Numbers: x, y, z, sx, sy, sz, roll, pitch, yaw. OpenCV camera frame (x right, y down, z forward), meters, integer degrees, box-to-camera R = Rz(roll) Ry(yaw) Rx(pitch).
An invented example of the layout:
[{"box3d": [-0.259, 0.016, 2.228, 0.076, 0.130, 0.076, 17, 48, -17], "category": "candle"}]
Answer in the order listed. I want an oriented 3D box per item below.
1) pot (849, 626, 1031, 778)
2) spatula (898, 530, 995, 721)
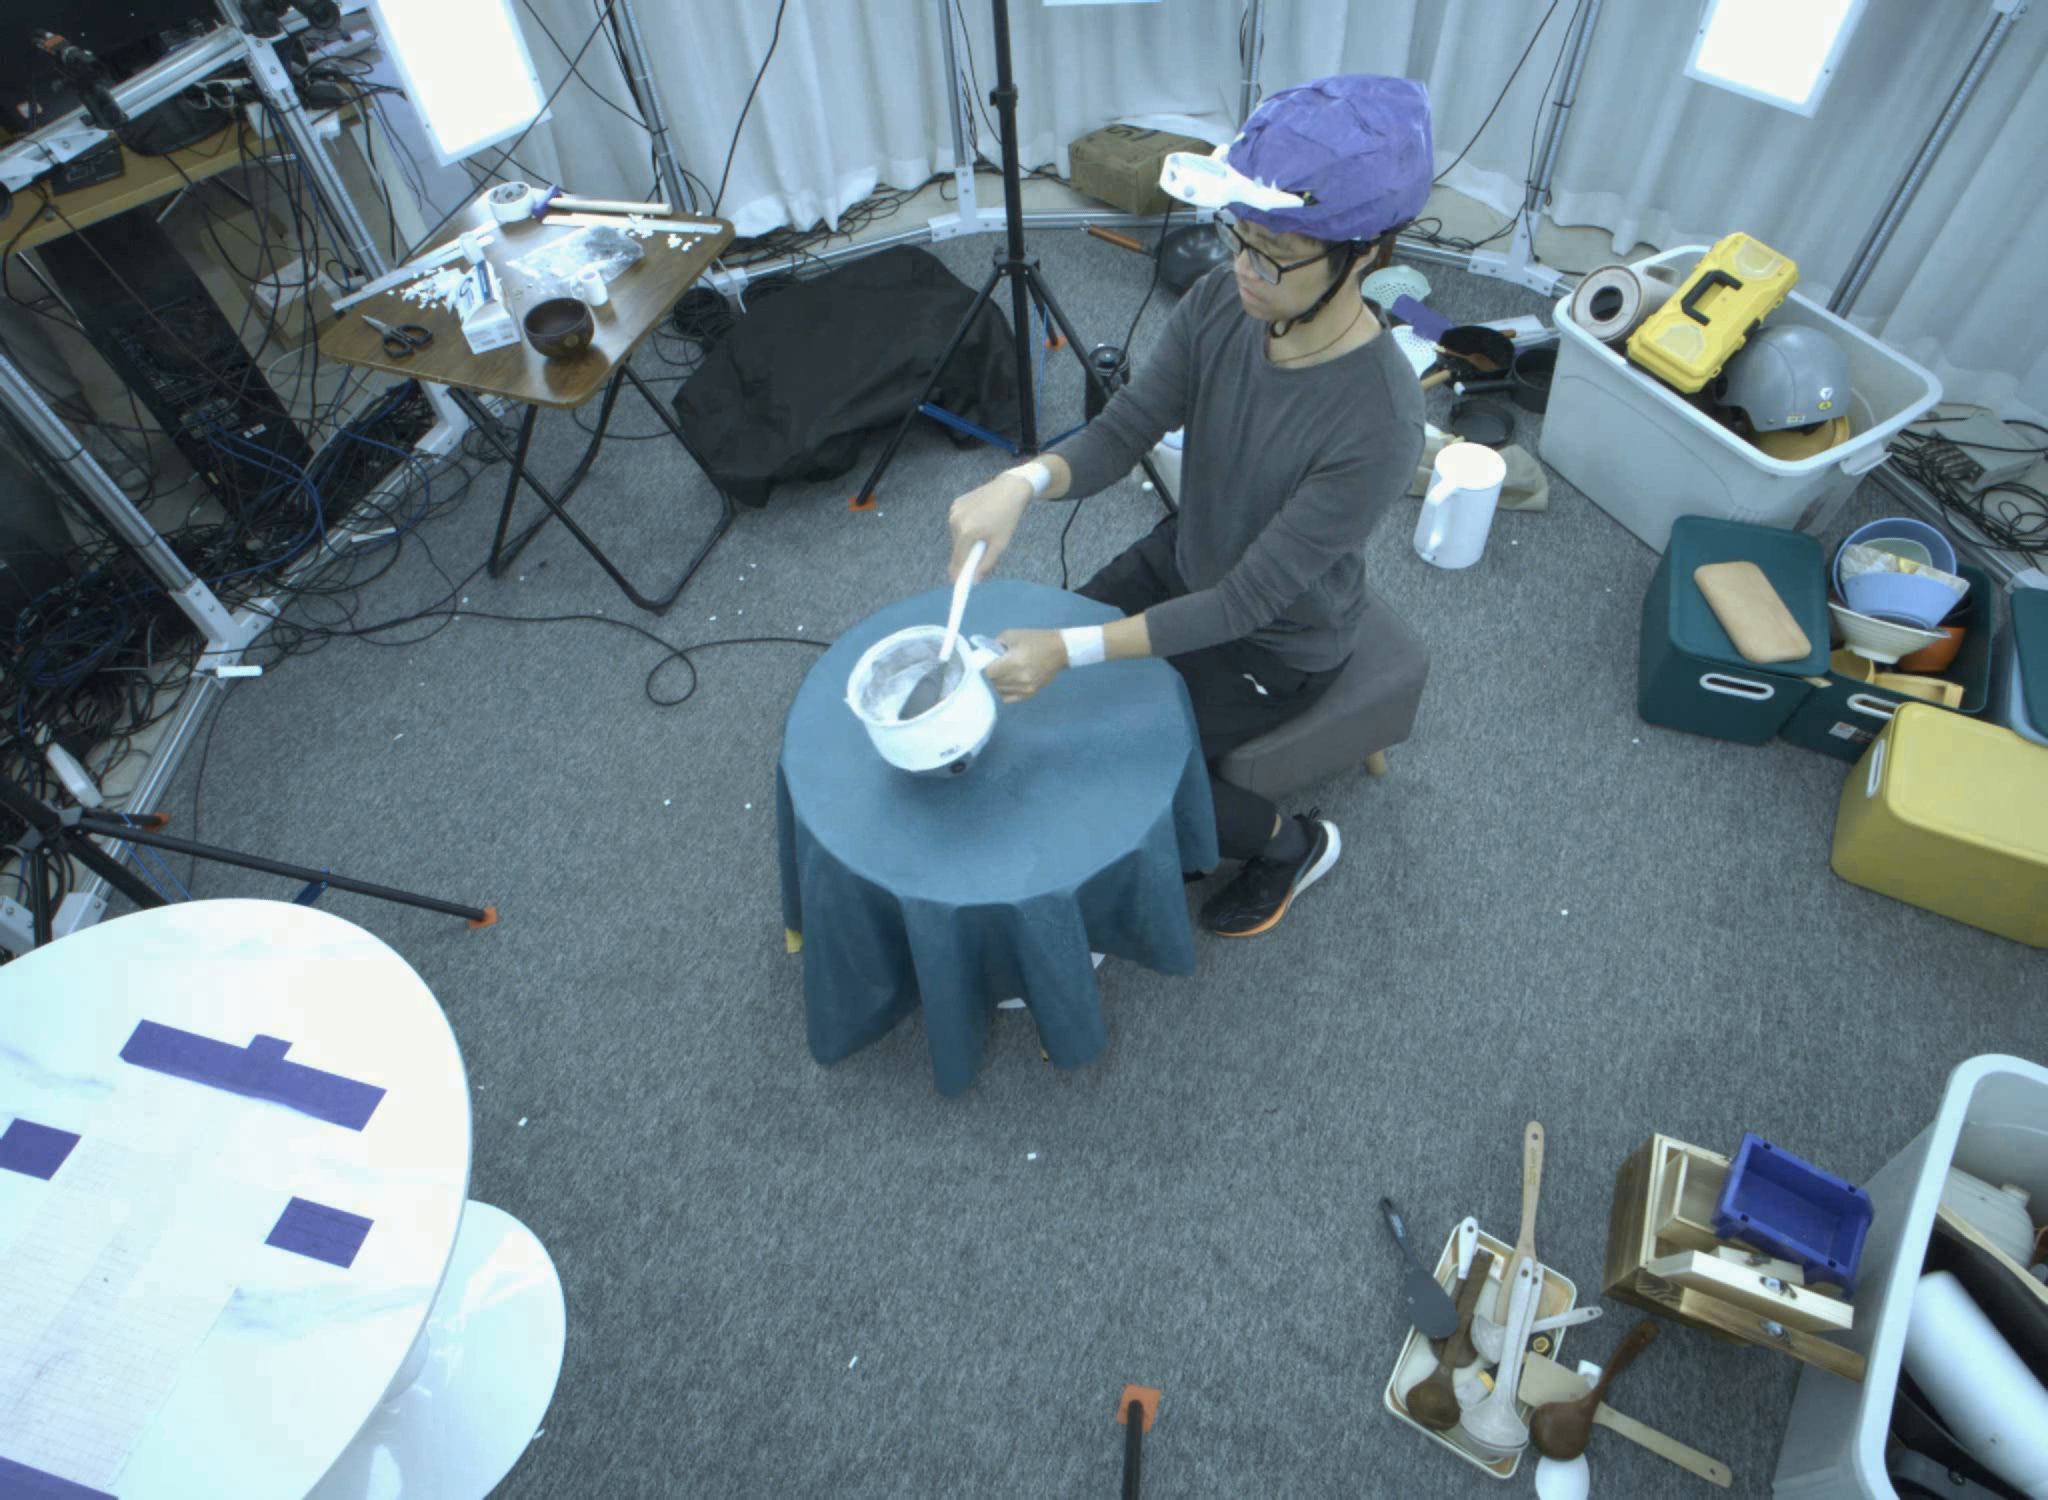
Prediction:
[{"box3d": [-0.109, -0.076, 1.690, 0.234, 0.139, 0.175, -29, 50, -3], "category": "pot"}, {"box3d": [-0.103, -0.157, 1.657, 0.057, 0.288, 0.033, 33, 20, 33], "category": "spatula"}]
